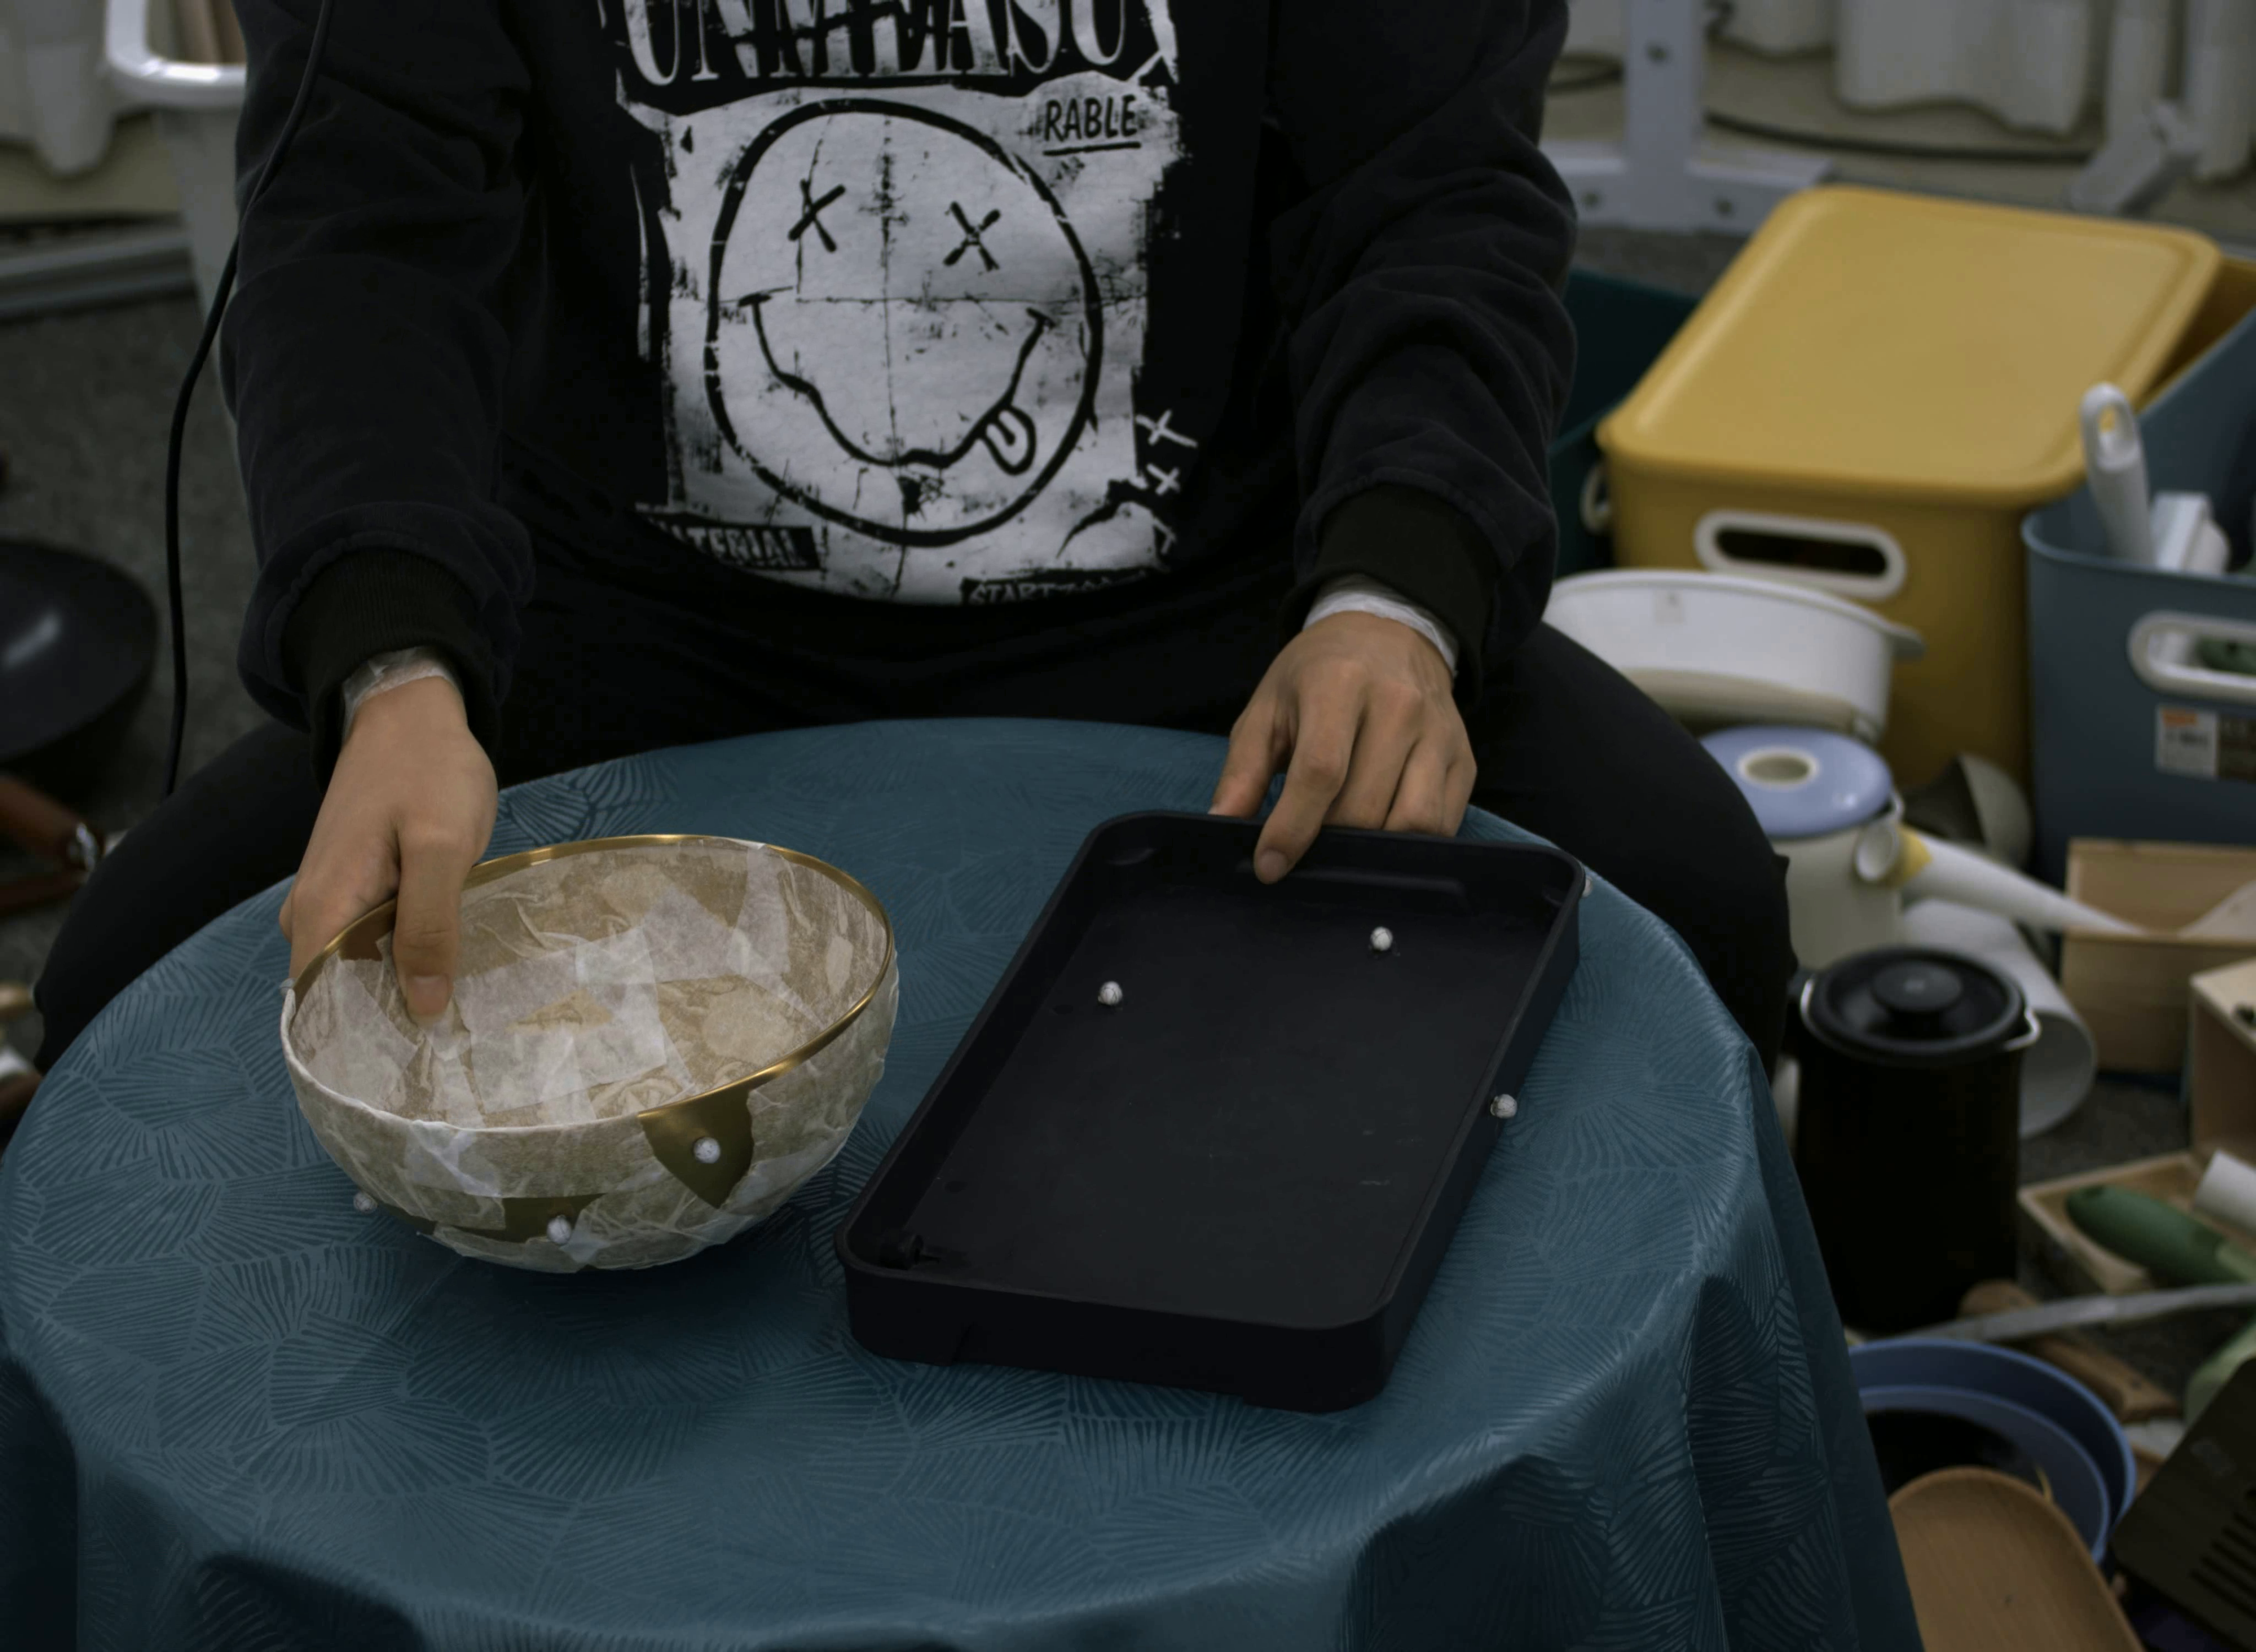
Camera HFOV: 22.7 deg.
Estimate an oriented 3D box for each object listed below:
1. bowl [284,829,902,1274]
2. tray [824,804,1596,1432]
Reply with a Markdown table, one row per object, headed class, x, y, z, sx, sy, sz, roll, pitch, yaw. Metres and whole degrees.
| class | x | y | z | sx | sy | sz | roll | pitch | yaw |
| --- | --- | --- | --- | --- | --- | --- | --- | --- | --- |
| bowl | -0.166 | 0.086 | 1.844 | 0.213 | 0.094 | 0.218 | -6 | 25 | 3 |
| tray | 0.035 | 0.091 | 1.884 | 0.183 | 0.036 | 0.323 | 7 | 30 | 17 |
